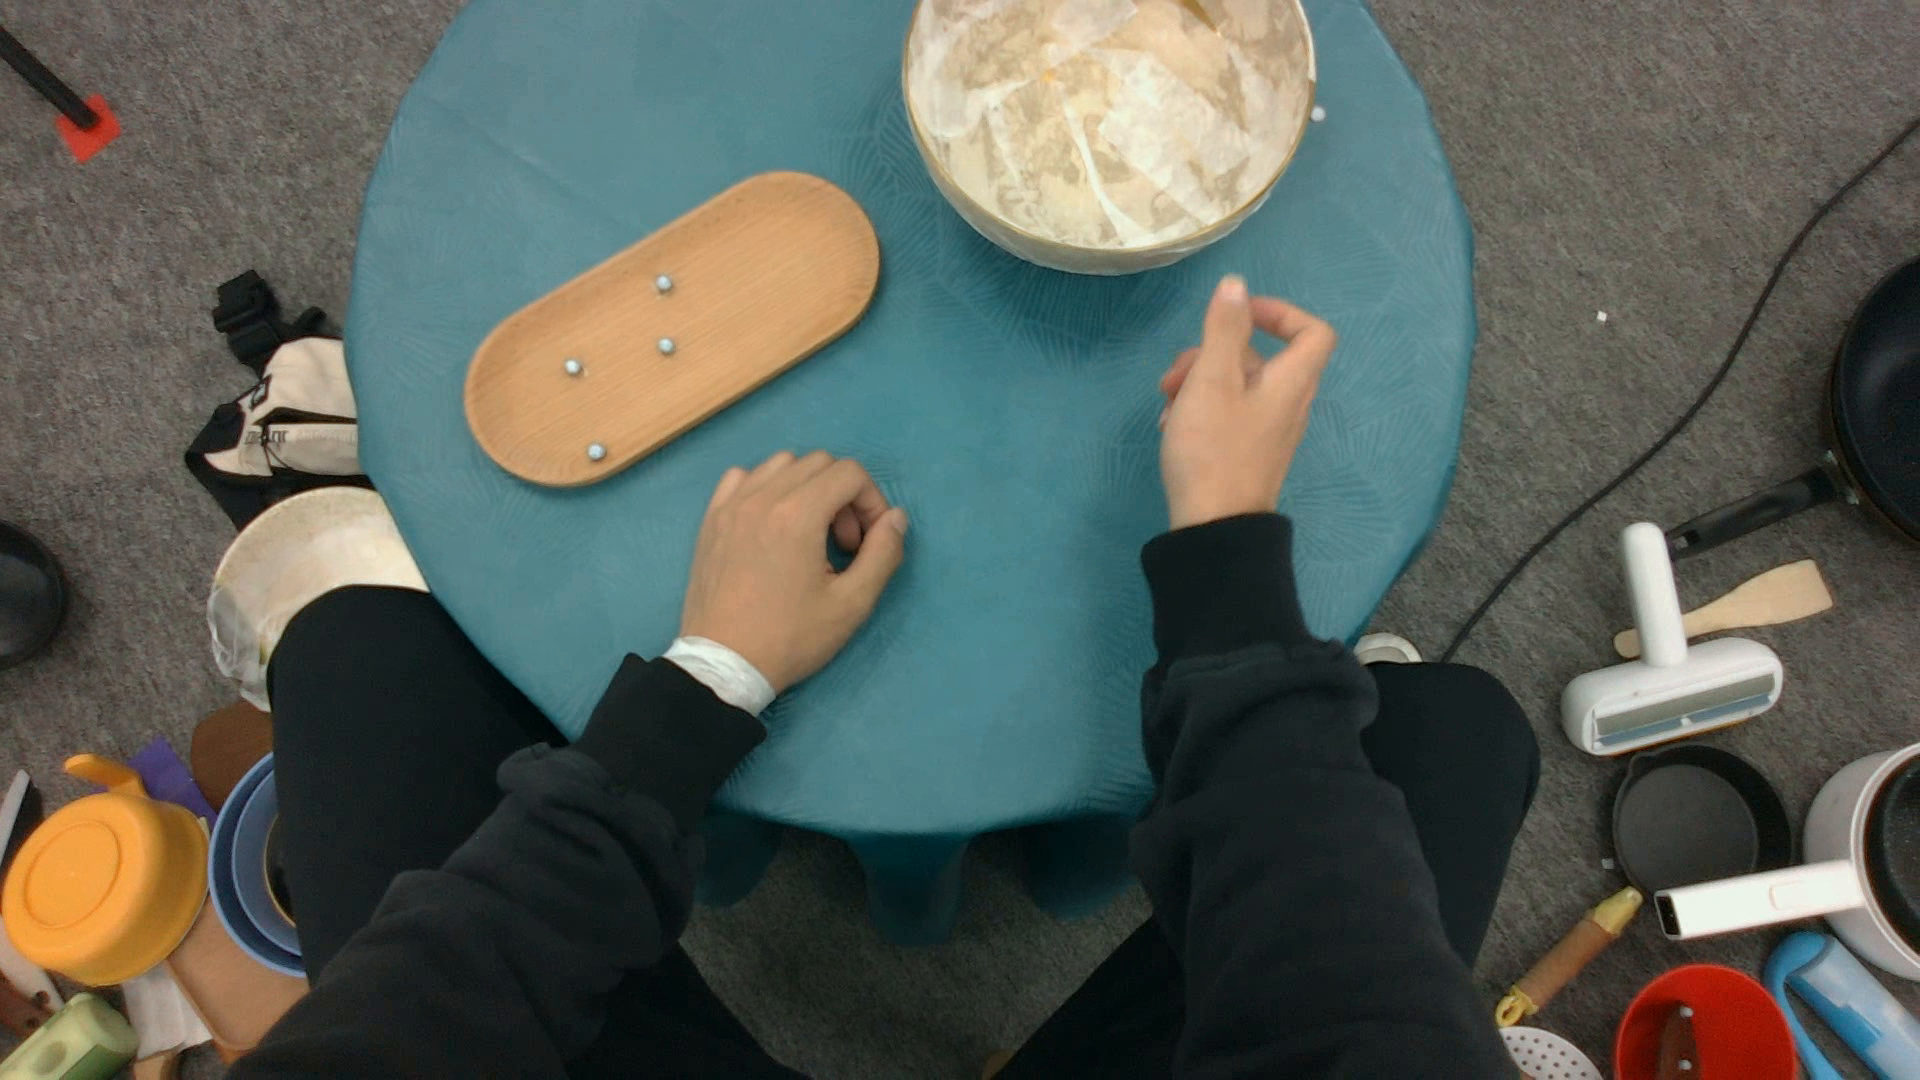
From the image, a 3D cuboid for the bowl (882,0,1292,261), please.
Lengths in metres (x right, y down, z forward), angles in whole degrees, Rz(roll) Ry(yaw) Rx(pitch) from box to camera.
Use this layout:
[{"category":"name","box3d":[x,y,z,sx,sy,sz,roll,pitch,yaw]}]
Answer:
[{"category":"bowl","box3d":[0.058,-0.227,0.715,0.215,0.094,0.215,1,77,-3]}]

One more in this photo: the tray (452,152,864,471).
[{"category":"tray","box3d":[-0.155,-0.120,0.719,0.231,0.020,0.102,-34,82,-12]}]
